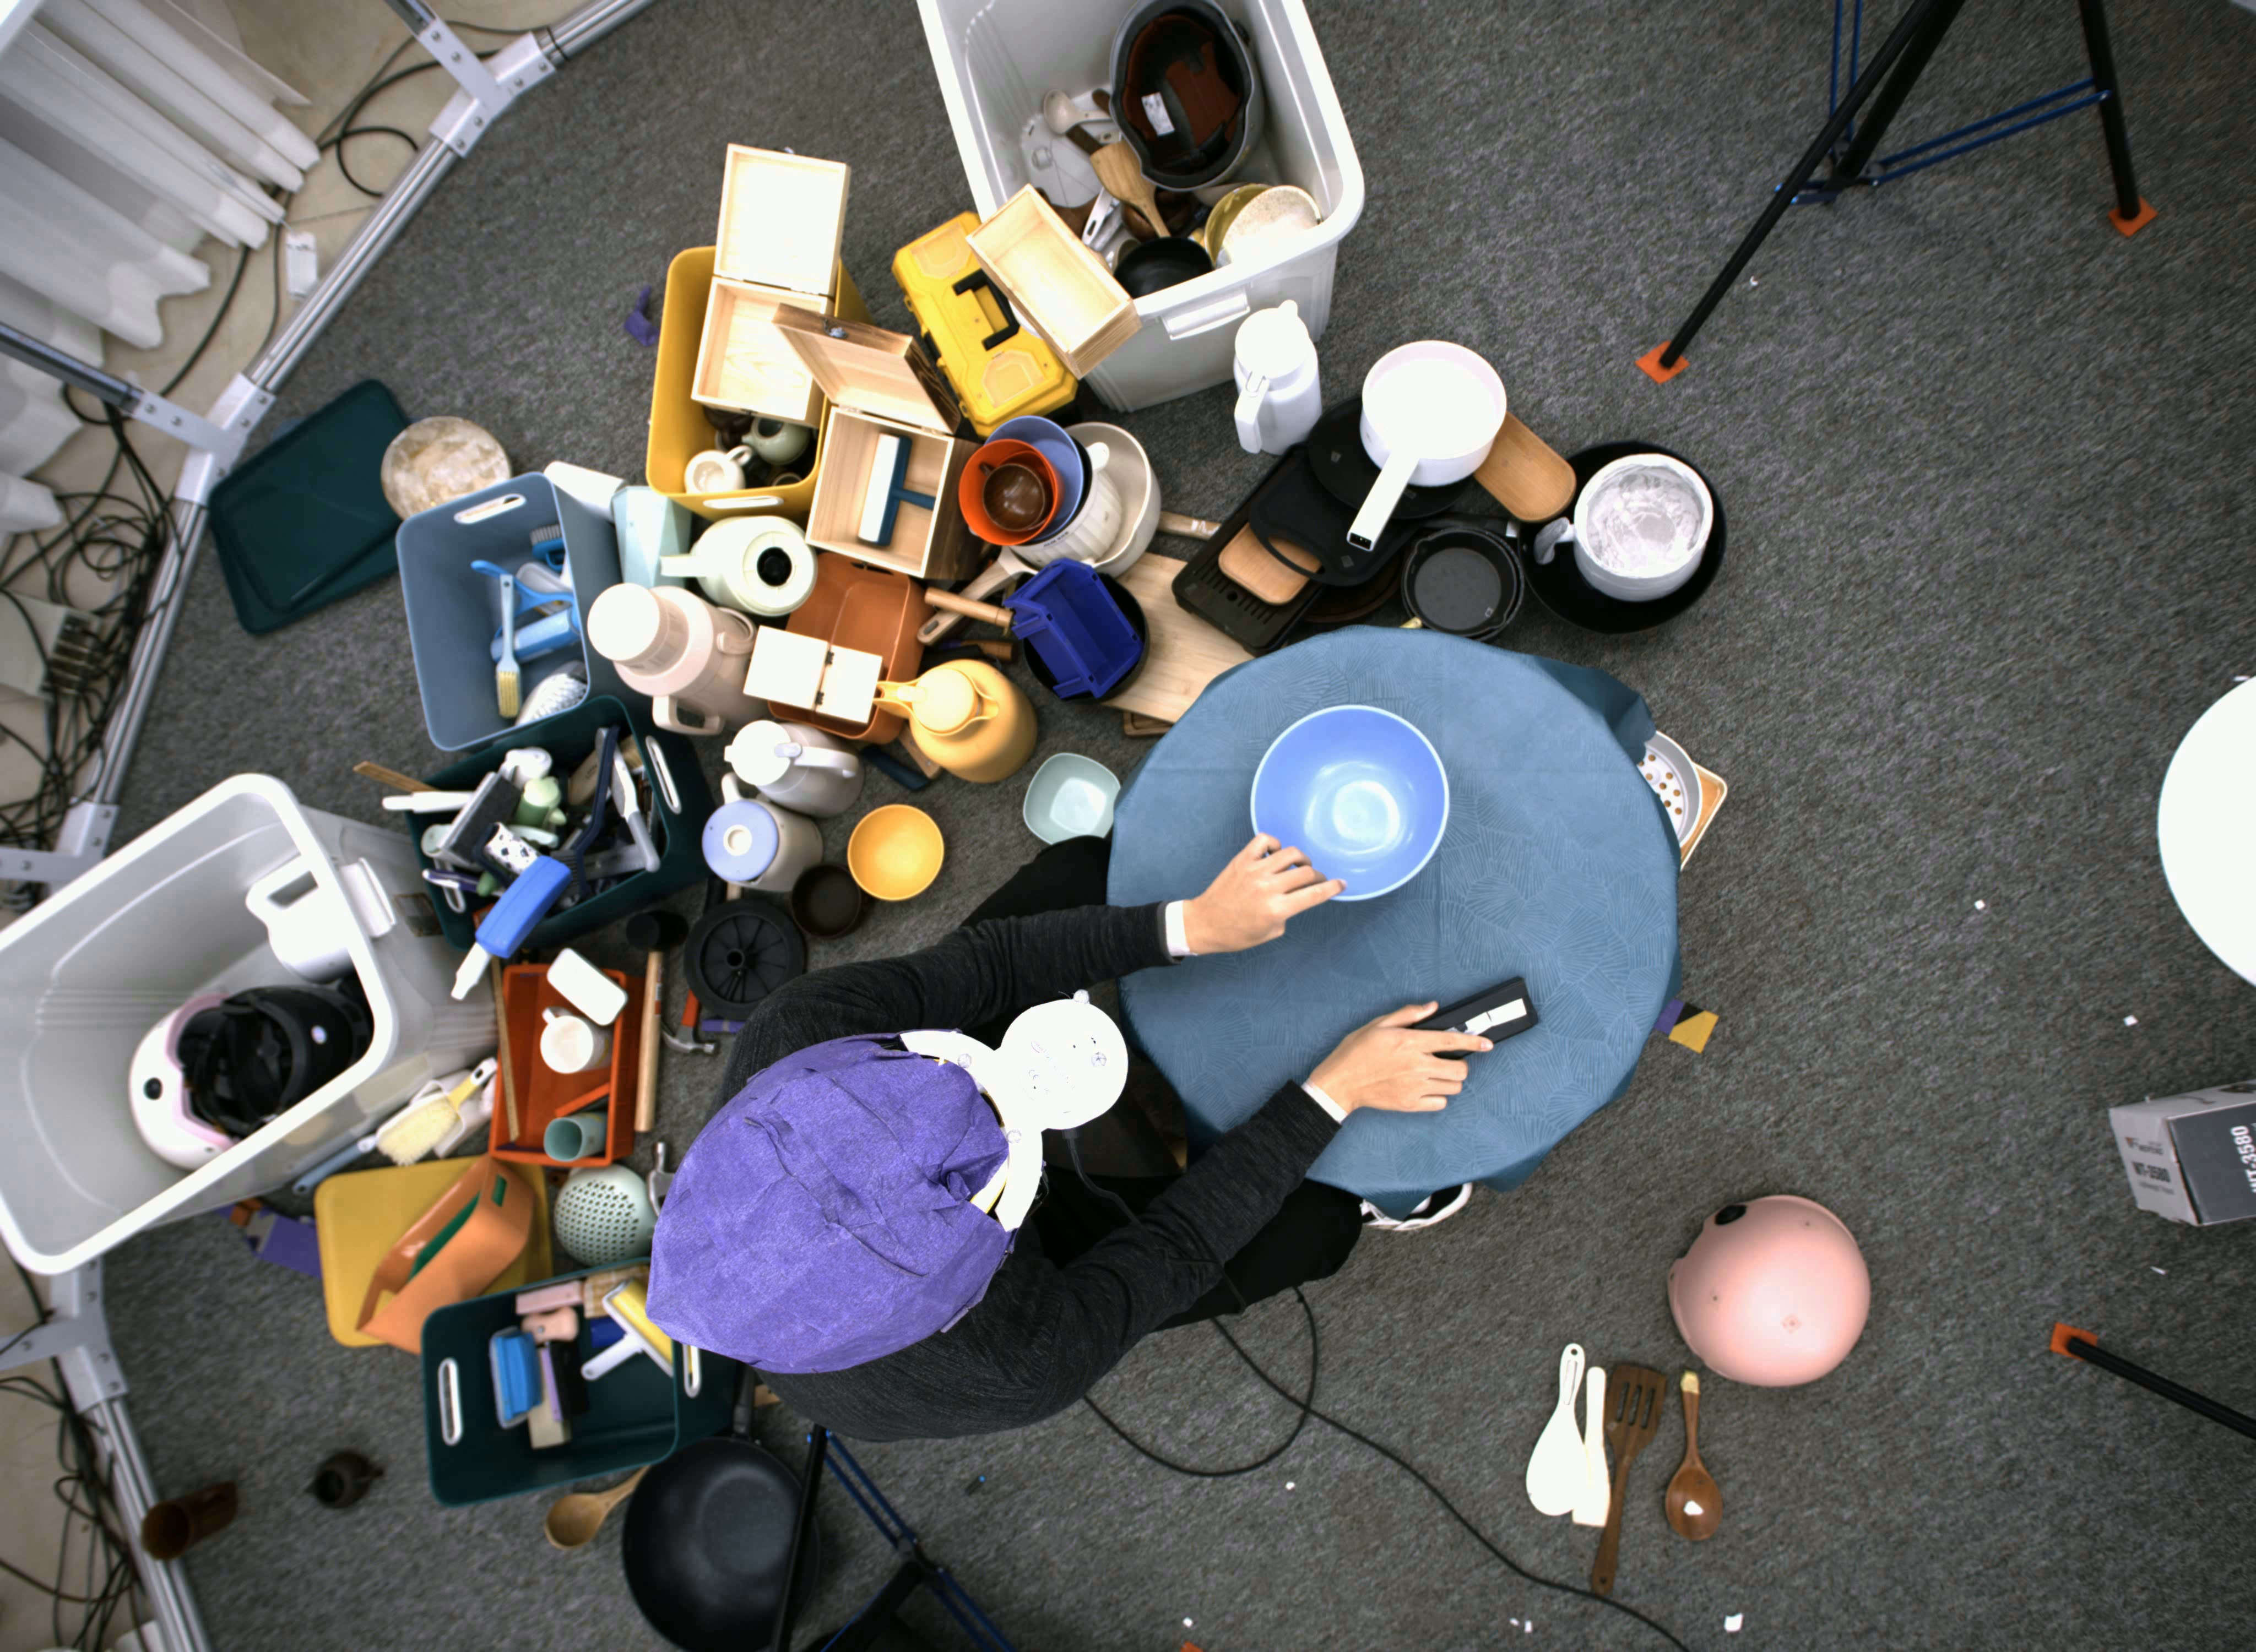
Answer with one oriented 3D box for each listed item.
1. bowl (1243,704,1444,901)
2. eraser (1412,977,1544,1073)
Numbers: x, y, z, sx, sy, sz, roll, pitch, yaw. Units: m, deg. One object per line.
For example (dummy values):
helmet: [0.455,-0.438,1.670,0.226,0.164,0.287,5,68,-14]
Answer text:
bowl: [0.220,-0.020,1.397,0.197,0.095,0.195,-1,85,14]
eraser: [0.359,0.201,1.418,0.126,0.030,0.053,-25,87,6]
